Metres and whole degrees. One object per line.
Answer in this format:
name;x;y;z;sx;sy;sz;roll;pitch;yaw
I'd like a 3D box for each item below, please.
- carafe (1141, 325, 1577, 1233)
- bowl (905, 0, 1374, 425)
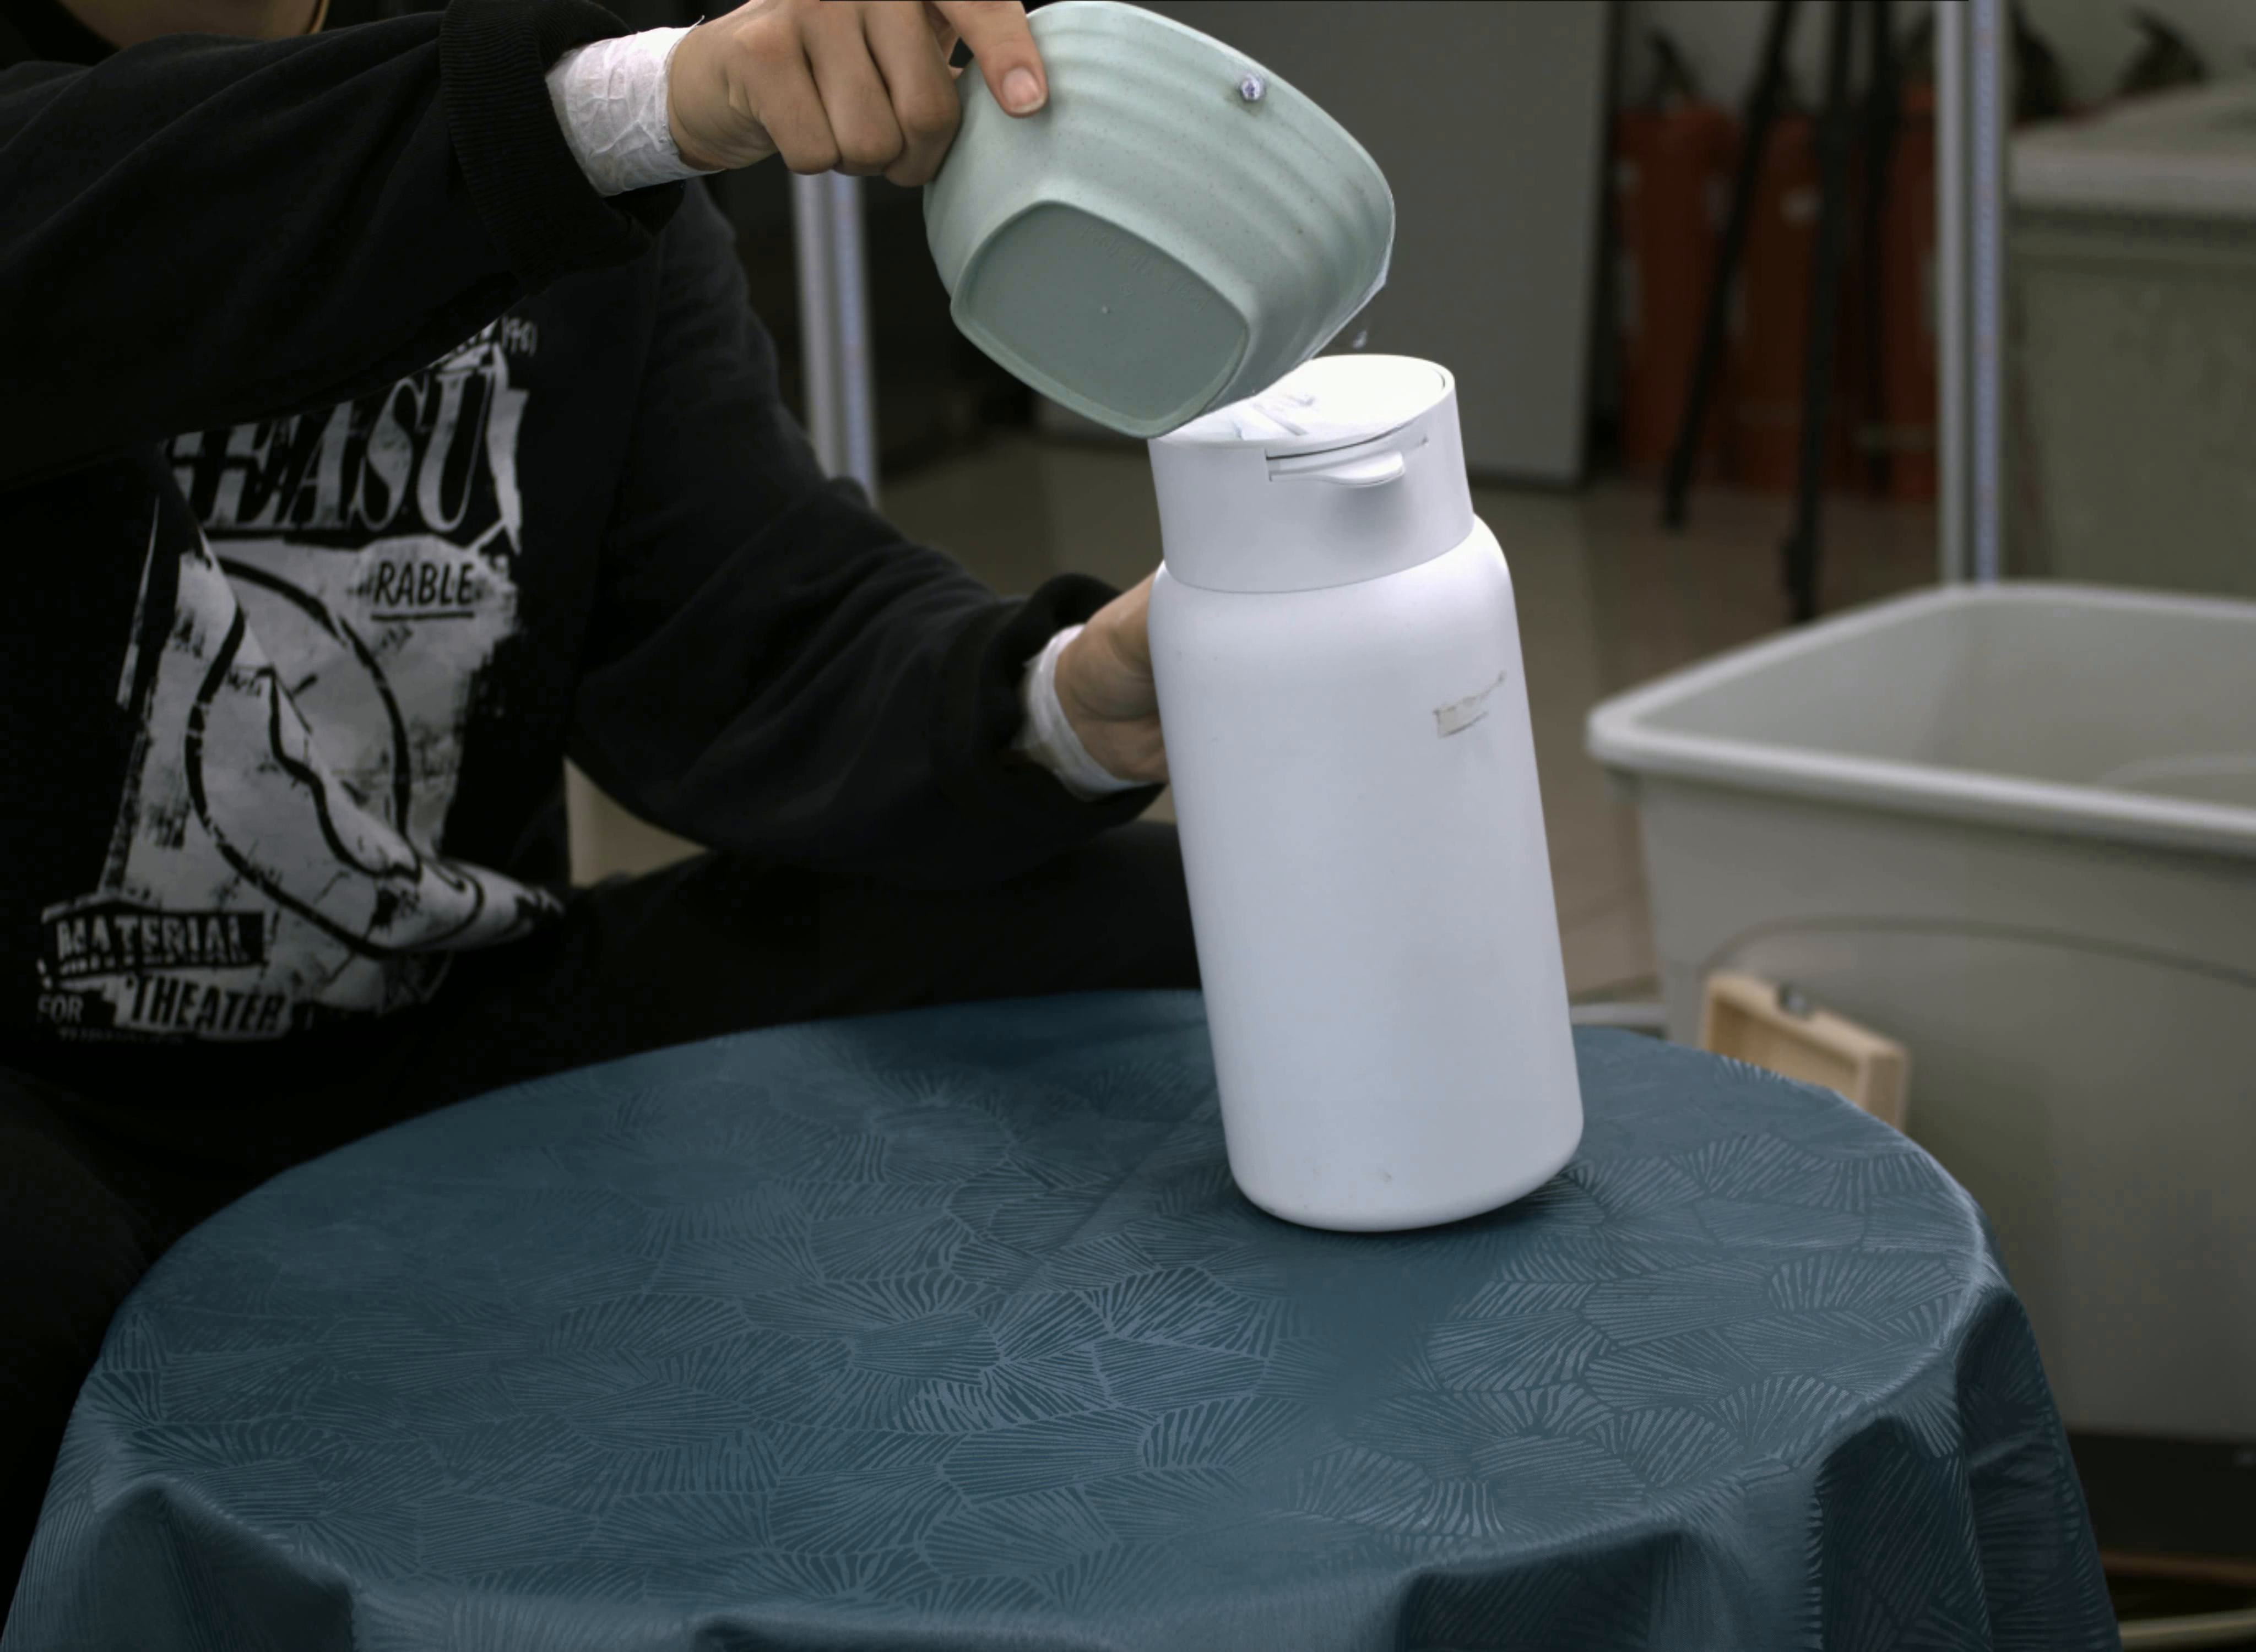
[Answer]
carafe;0.064;-0.018;1.732;0.122;0.271;0.174;-17;20;-15
bowl;-0.005;-0.173;1.588;0.152;0.151;0.059;3;49;26
